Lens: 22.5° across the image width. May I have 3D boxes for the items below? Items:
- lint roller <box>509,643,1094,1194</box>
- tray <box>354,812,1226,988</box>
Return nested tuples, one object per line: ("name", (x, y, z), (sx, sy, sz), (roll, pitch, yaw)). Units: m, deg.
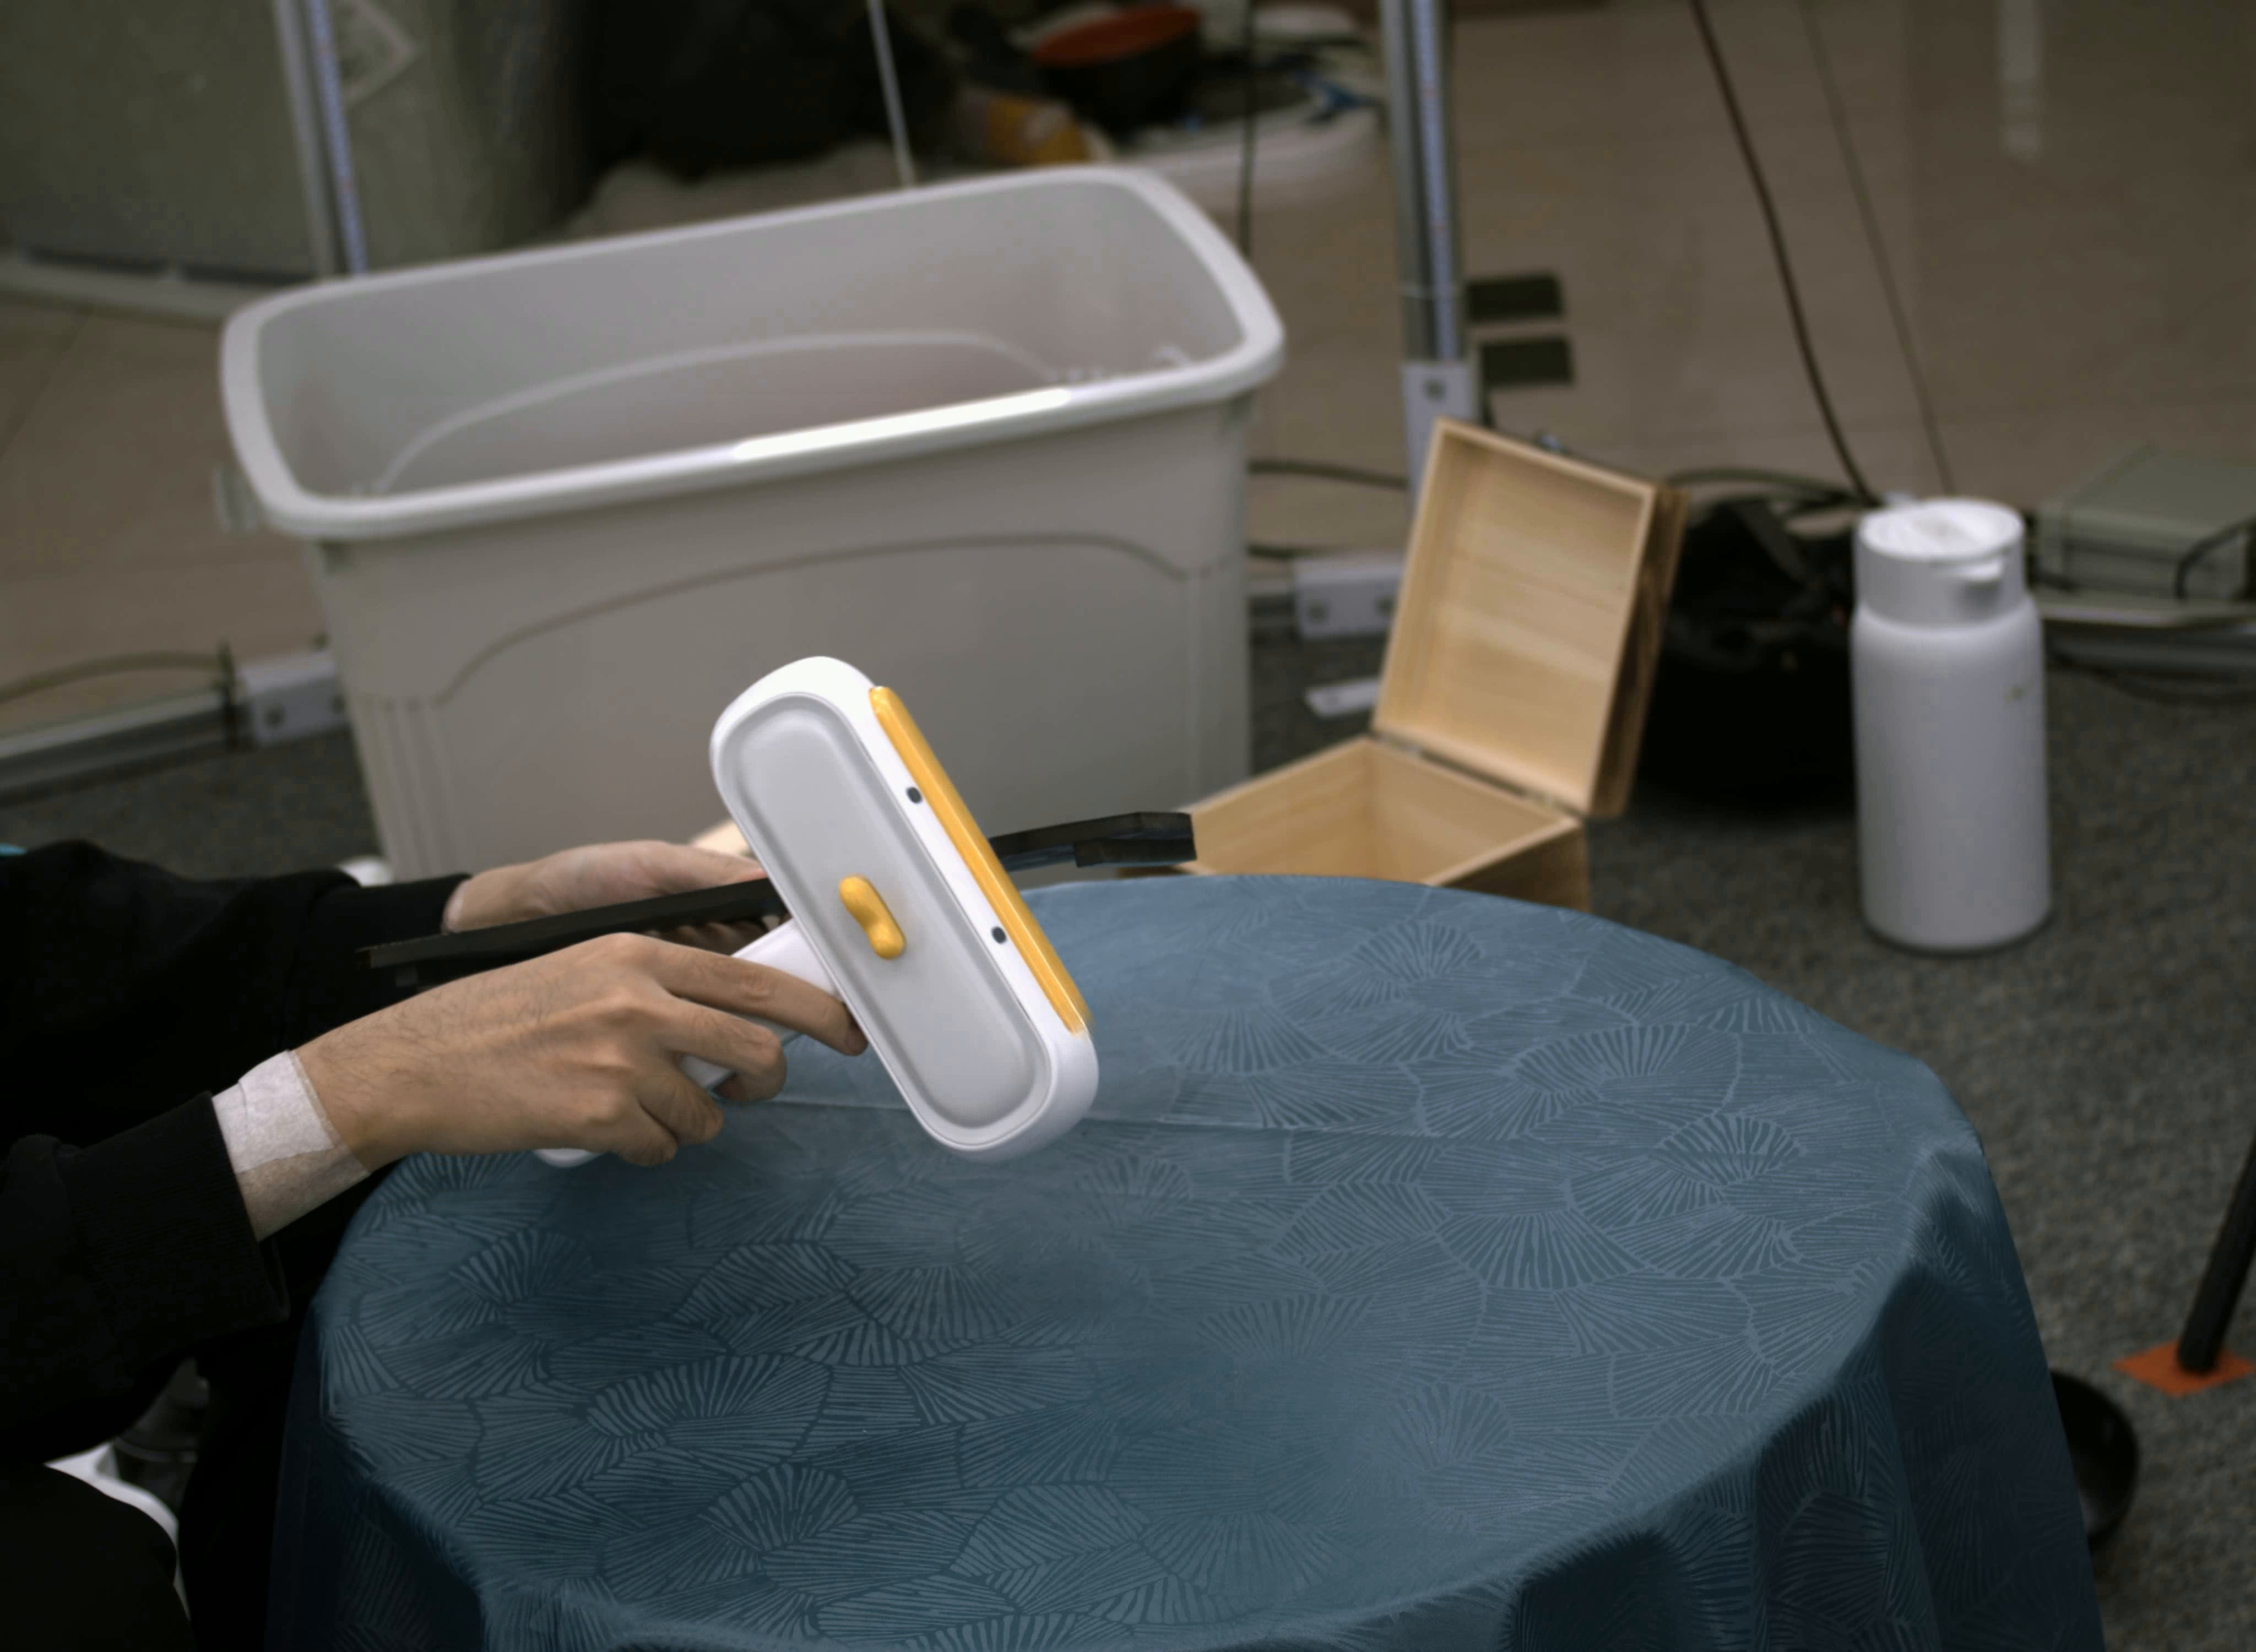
("lint roller", (-0.132, 0.059, 1.988), (0.193, 0.193, 0.074), (-37, 0, 6))
("tray", (-0.124, 0.029, 2.141), (0.306, 0.018, 0.170), (-10, -2, 14))
